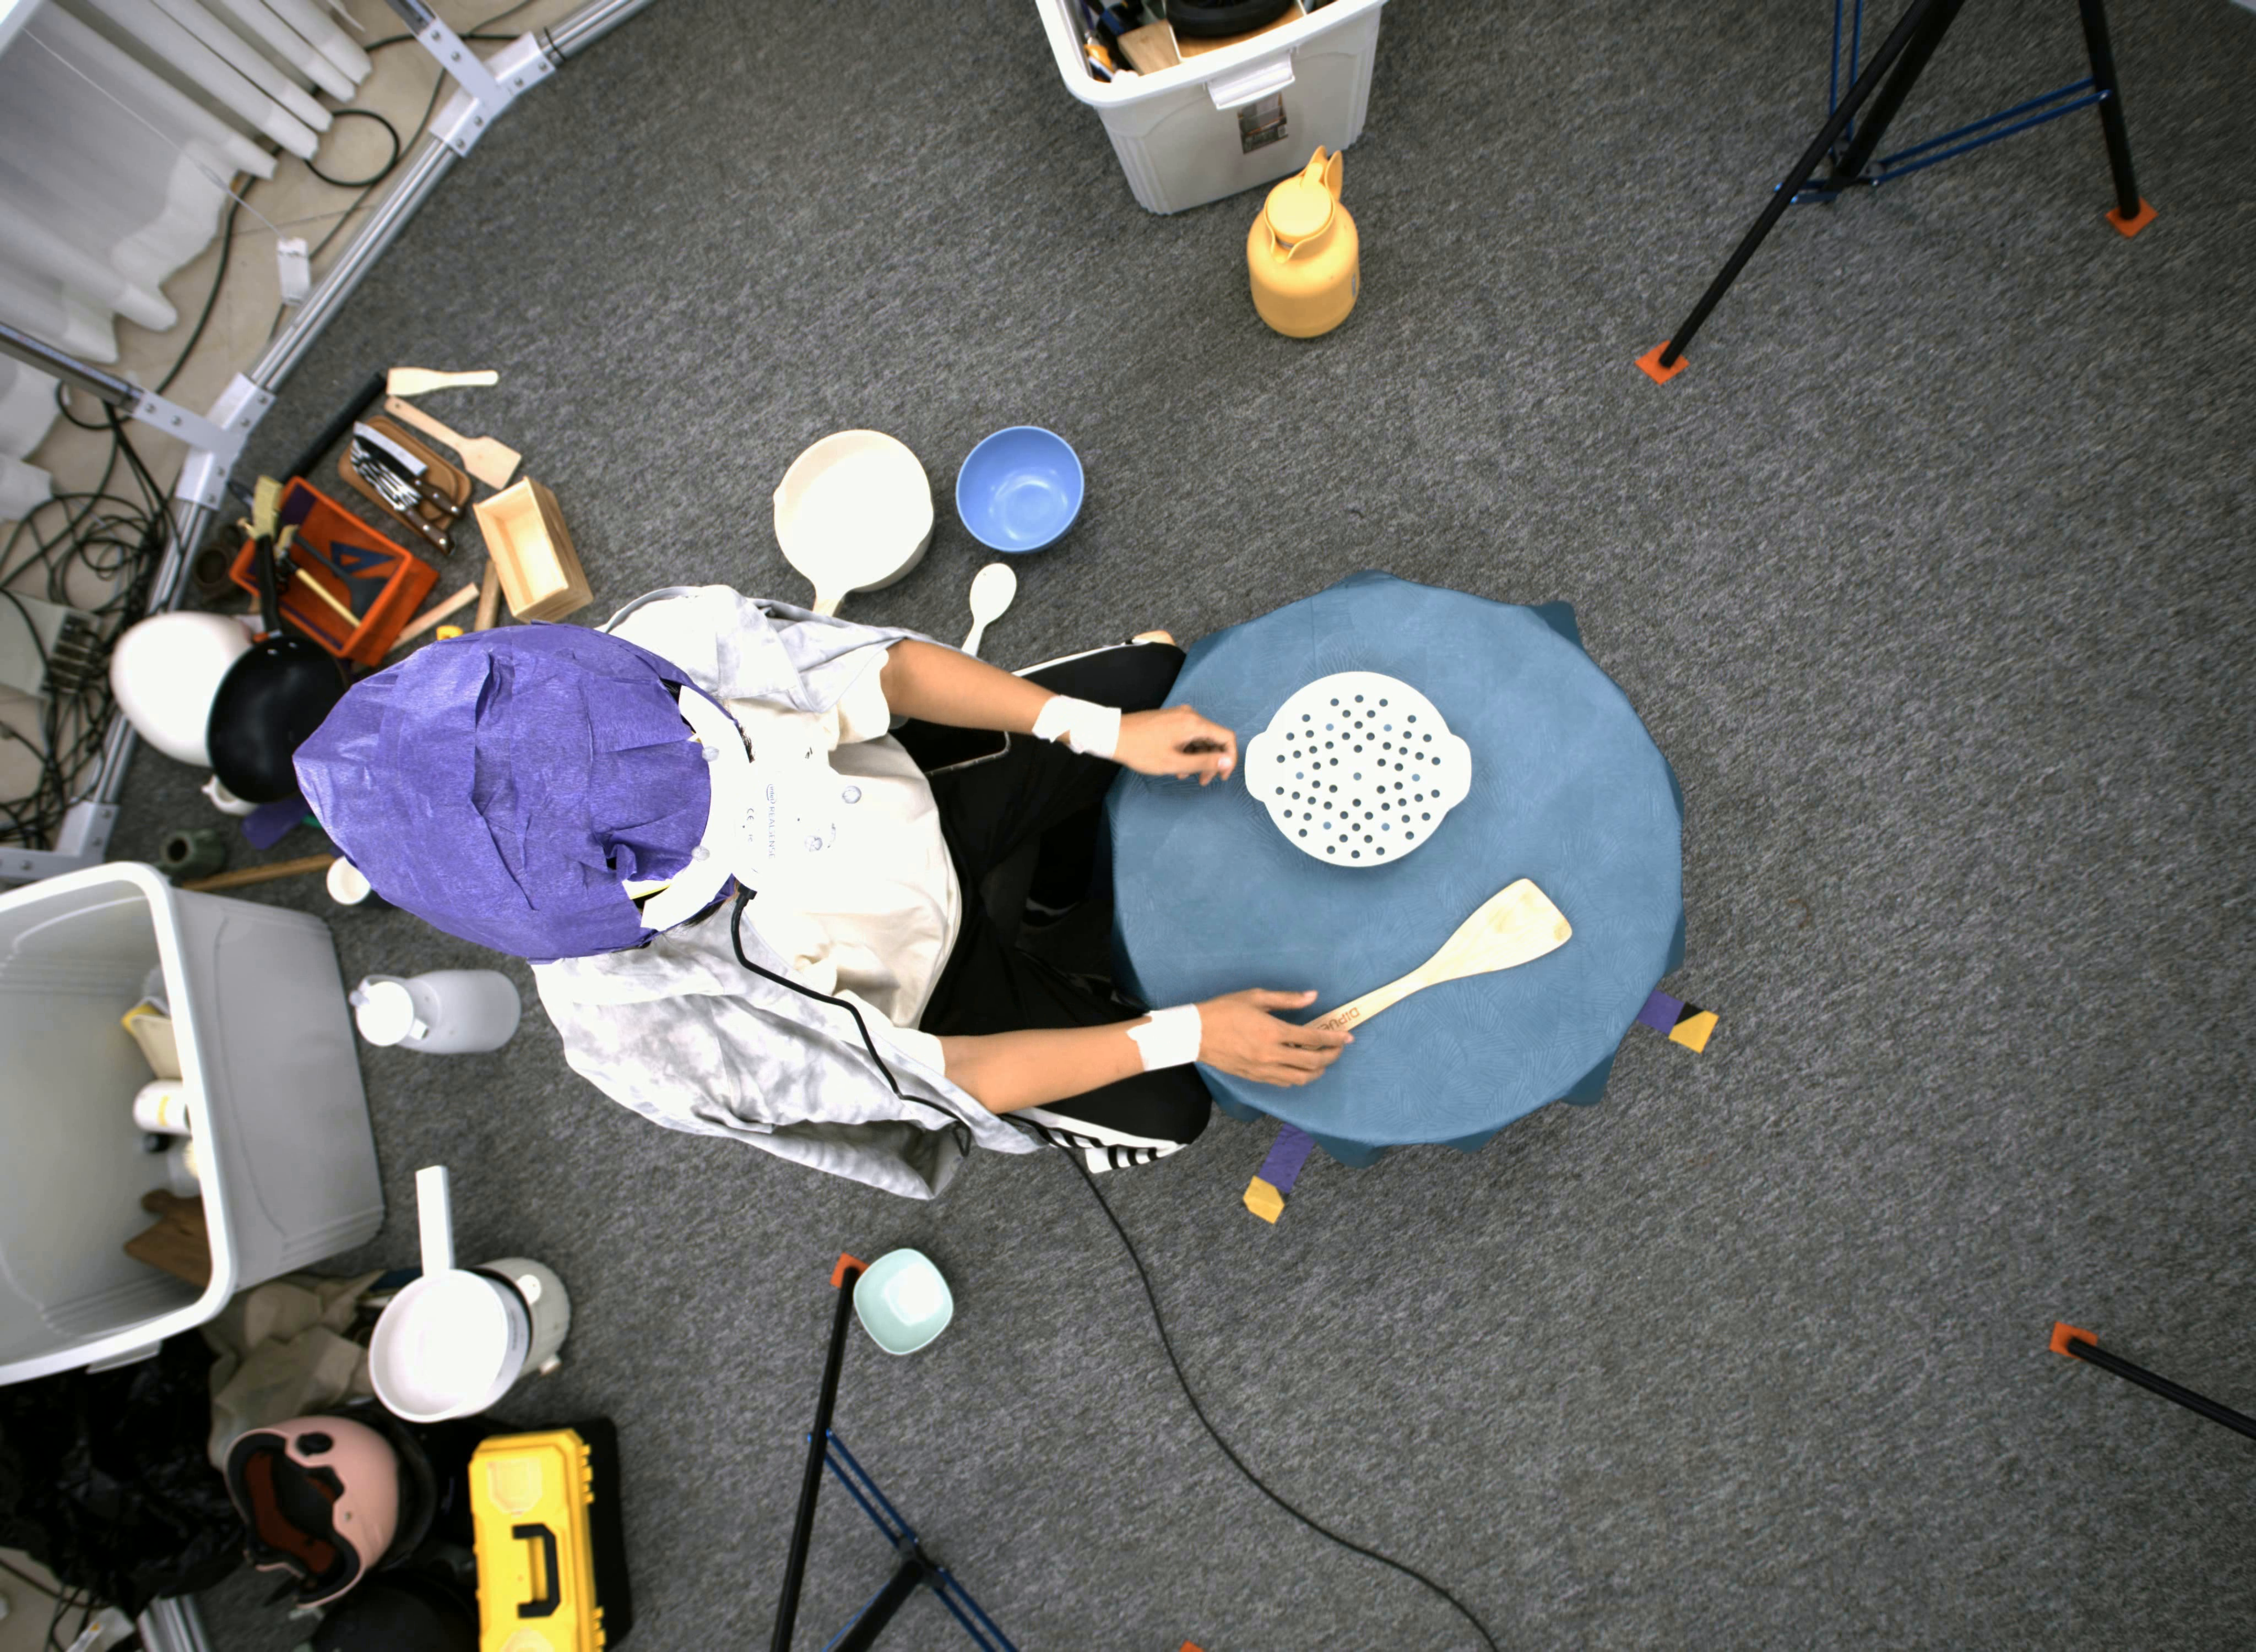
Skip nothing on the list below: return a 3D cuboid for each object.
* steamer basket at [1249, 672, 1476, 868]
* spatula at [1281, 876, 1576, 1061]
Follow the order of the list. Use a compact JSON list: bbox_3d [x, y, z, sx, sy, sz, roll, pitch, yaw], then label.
[{"bbox_3d":[0.243,-0.057,1.437,0.231,0.069,0.201,2,85,12],"label":"steamer basket"},{"bbox_3d":[0.303,0.157,1.438,0.329,0.016,0.079,-30,81,8],"label":"spatula"}]
